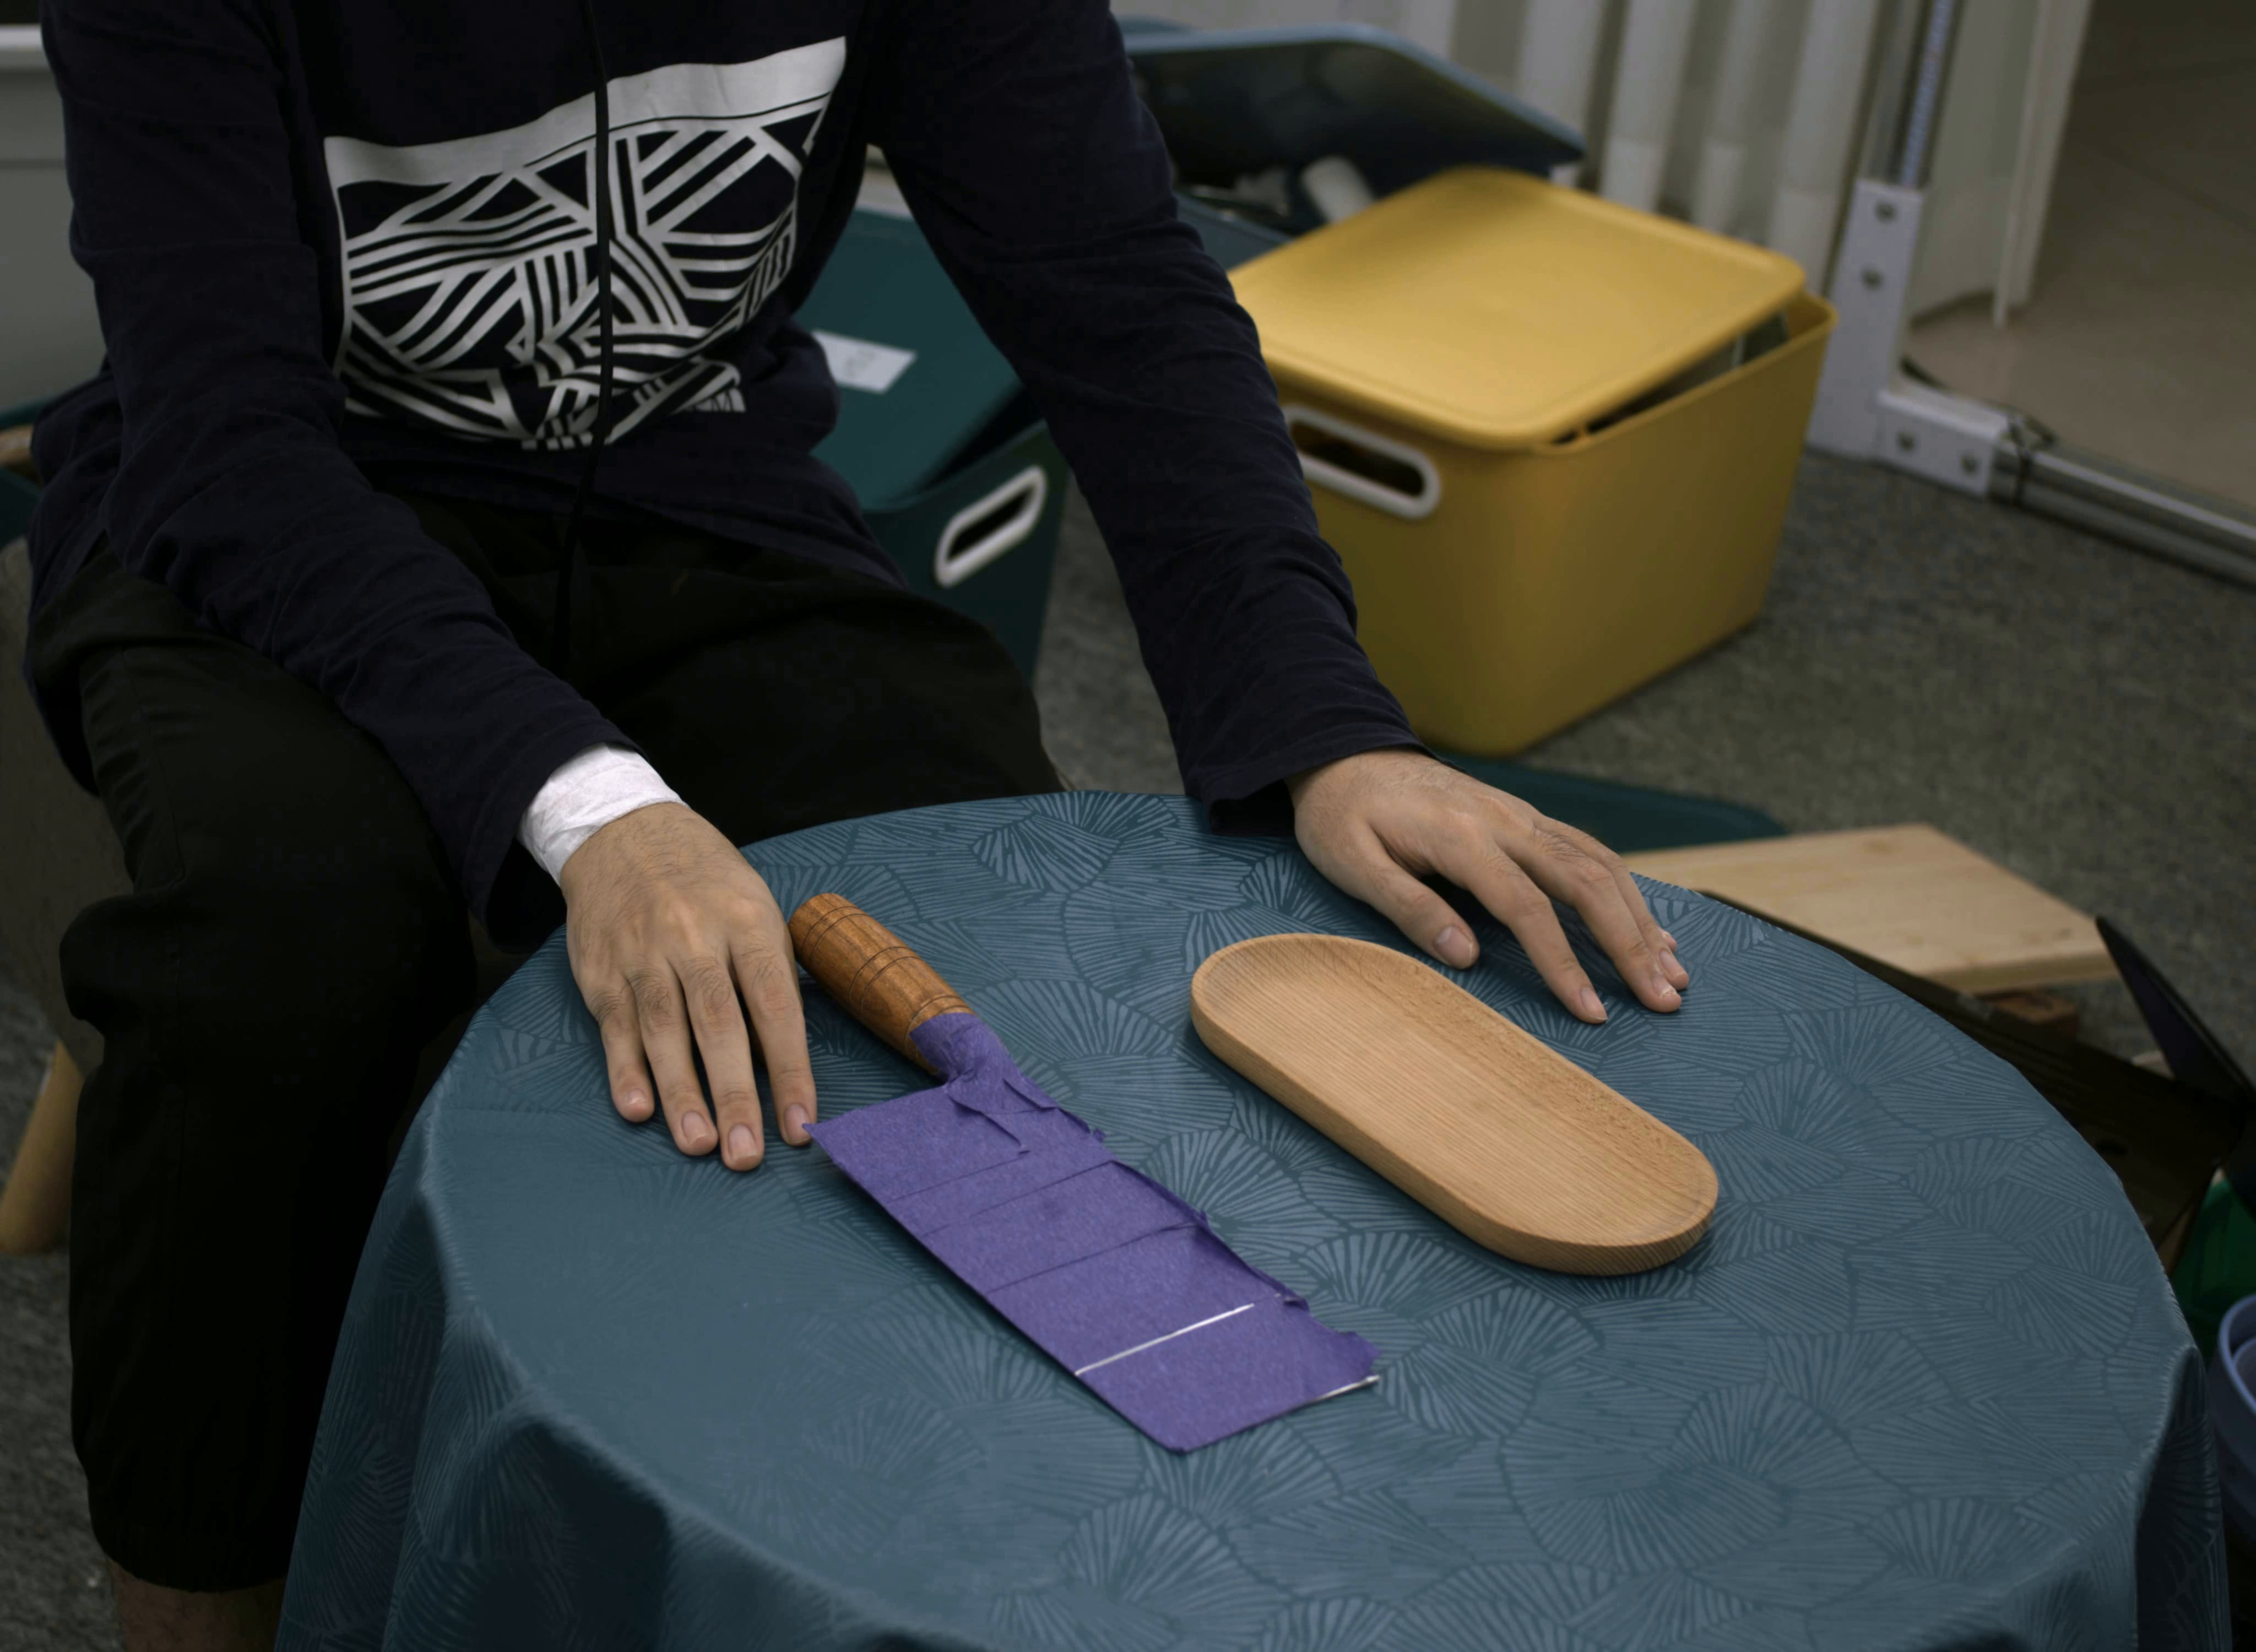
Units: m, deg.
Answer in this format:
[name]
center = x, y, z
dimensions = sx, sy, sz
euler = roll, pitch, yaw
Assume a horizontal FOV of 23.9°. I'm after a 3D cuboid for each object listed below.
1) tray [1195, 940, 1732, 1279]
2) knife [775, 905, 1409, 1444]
[tray]
center = 0.114, 0.098, 1.865
dimensions = 0.101, 0.020, 0.233
euler = -16, 35, -36
[knife]
center = -0.043, 0.113, 1.788
dimensions = 0.103, 0.032, 0.318
euler = -14, 34, -36
